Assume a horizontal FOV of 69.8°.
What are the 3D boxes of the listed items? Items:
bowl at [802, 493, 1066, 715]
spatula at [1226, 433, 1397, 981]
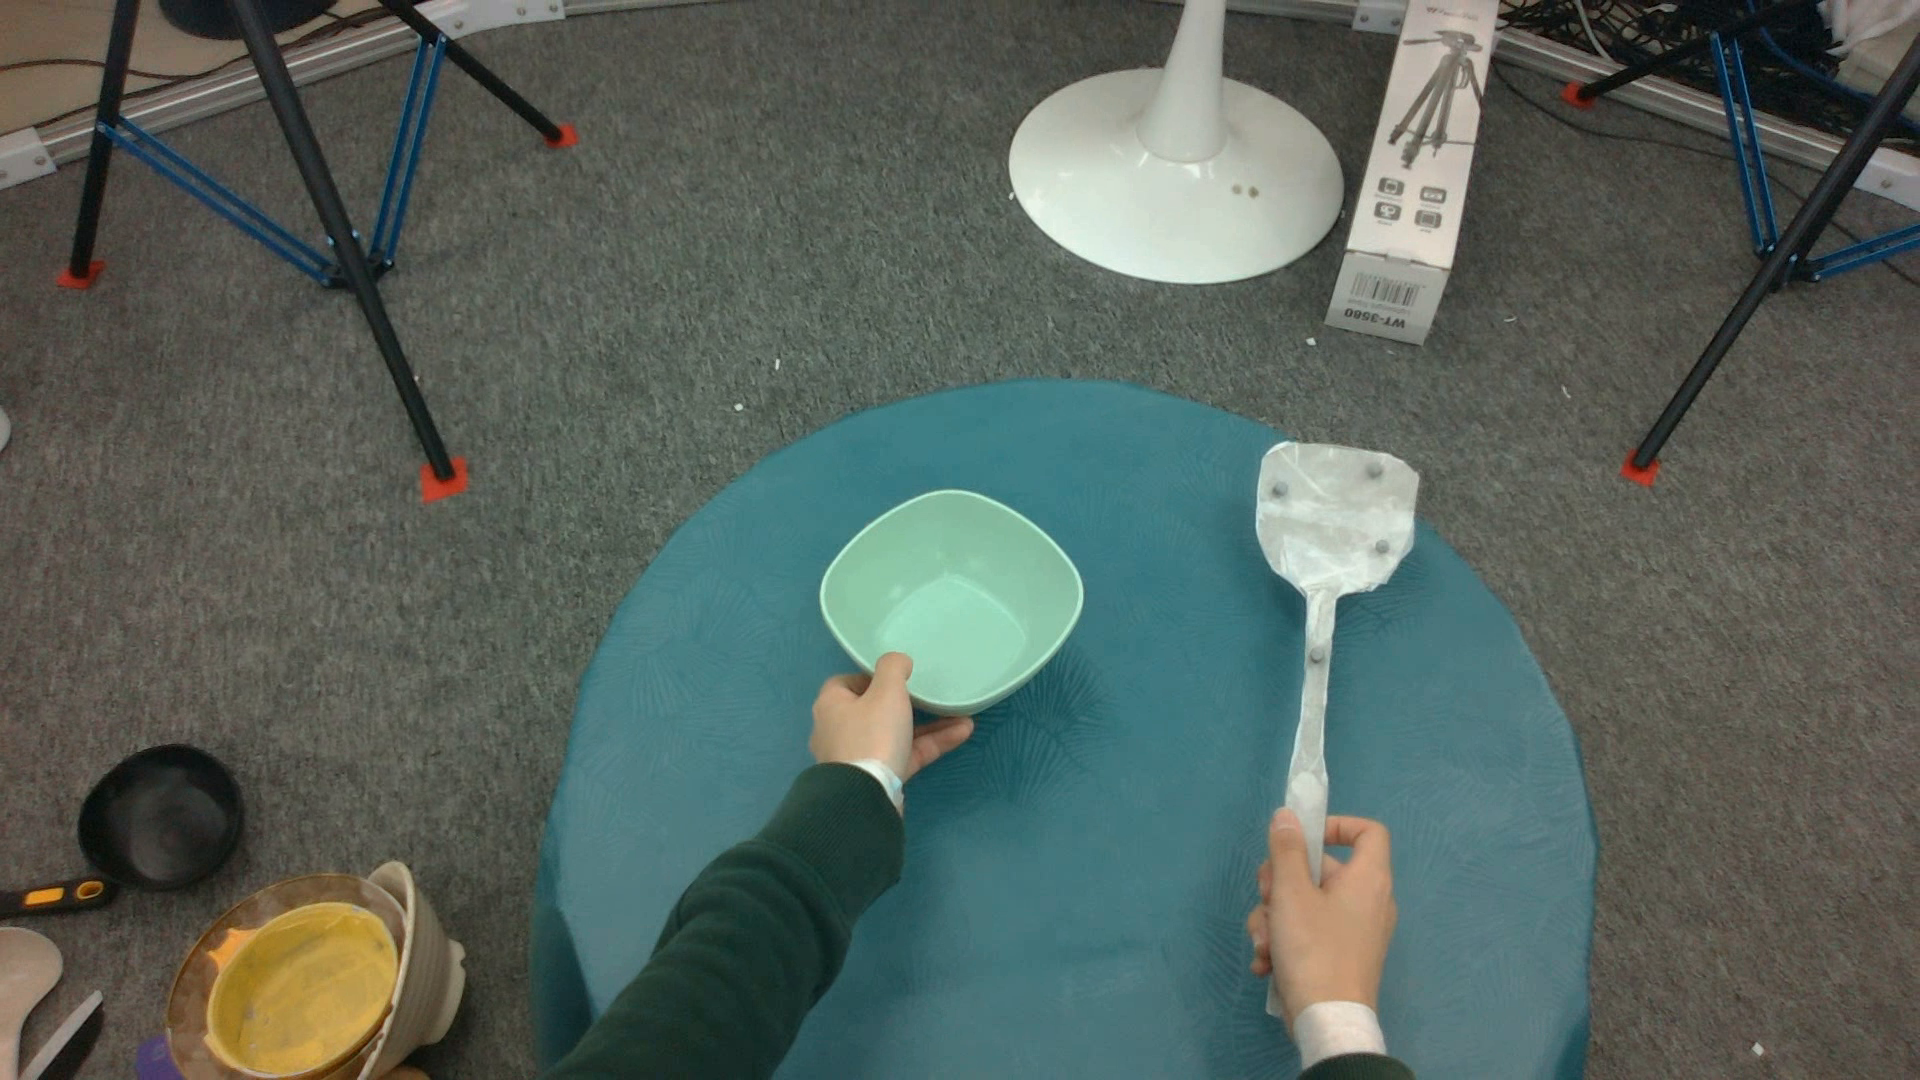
[{"bbox_3d":[-0.015,0.046,0.807,0.151,0.058,0.152,1,49,-1],"label":"bowl"},{"bbox_3d":[0.190,0.078,0.787,0.098,0.044,0.367,12,48,9],"label":"spatula"}]
